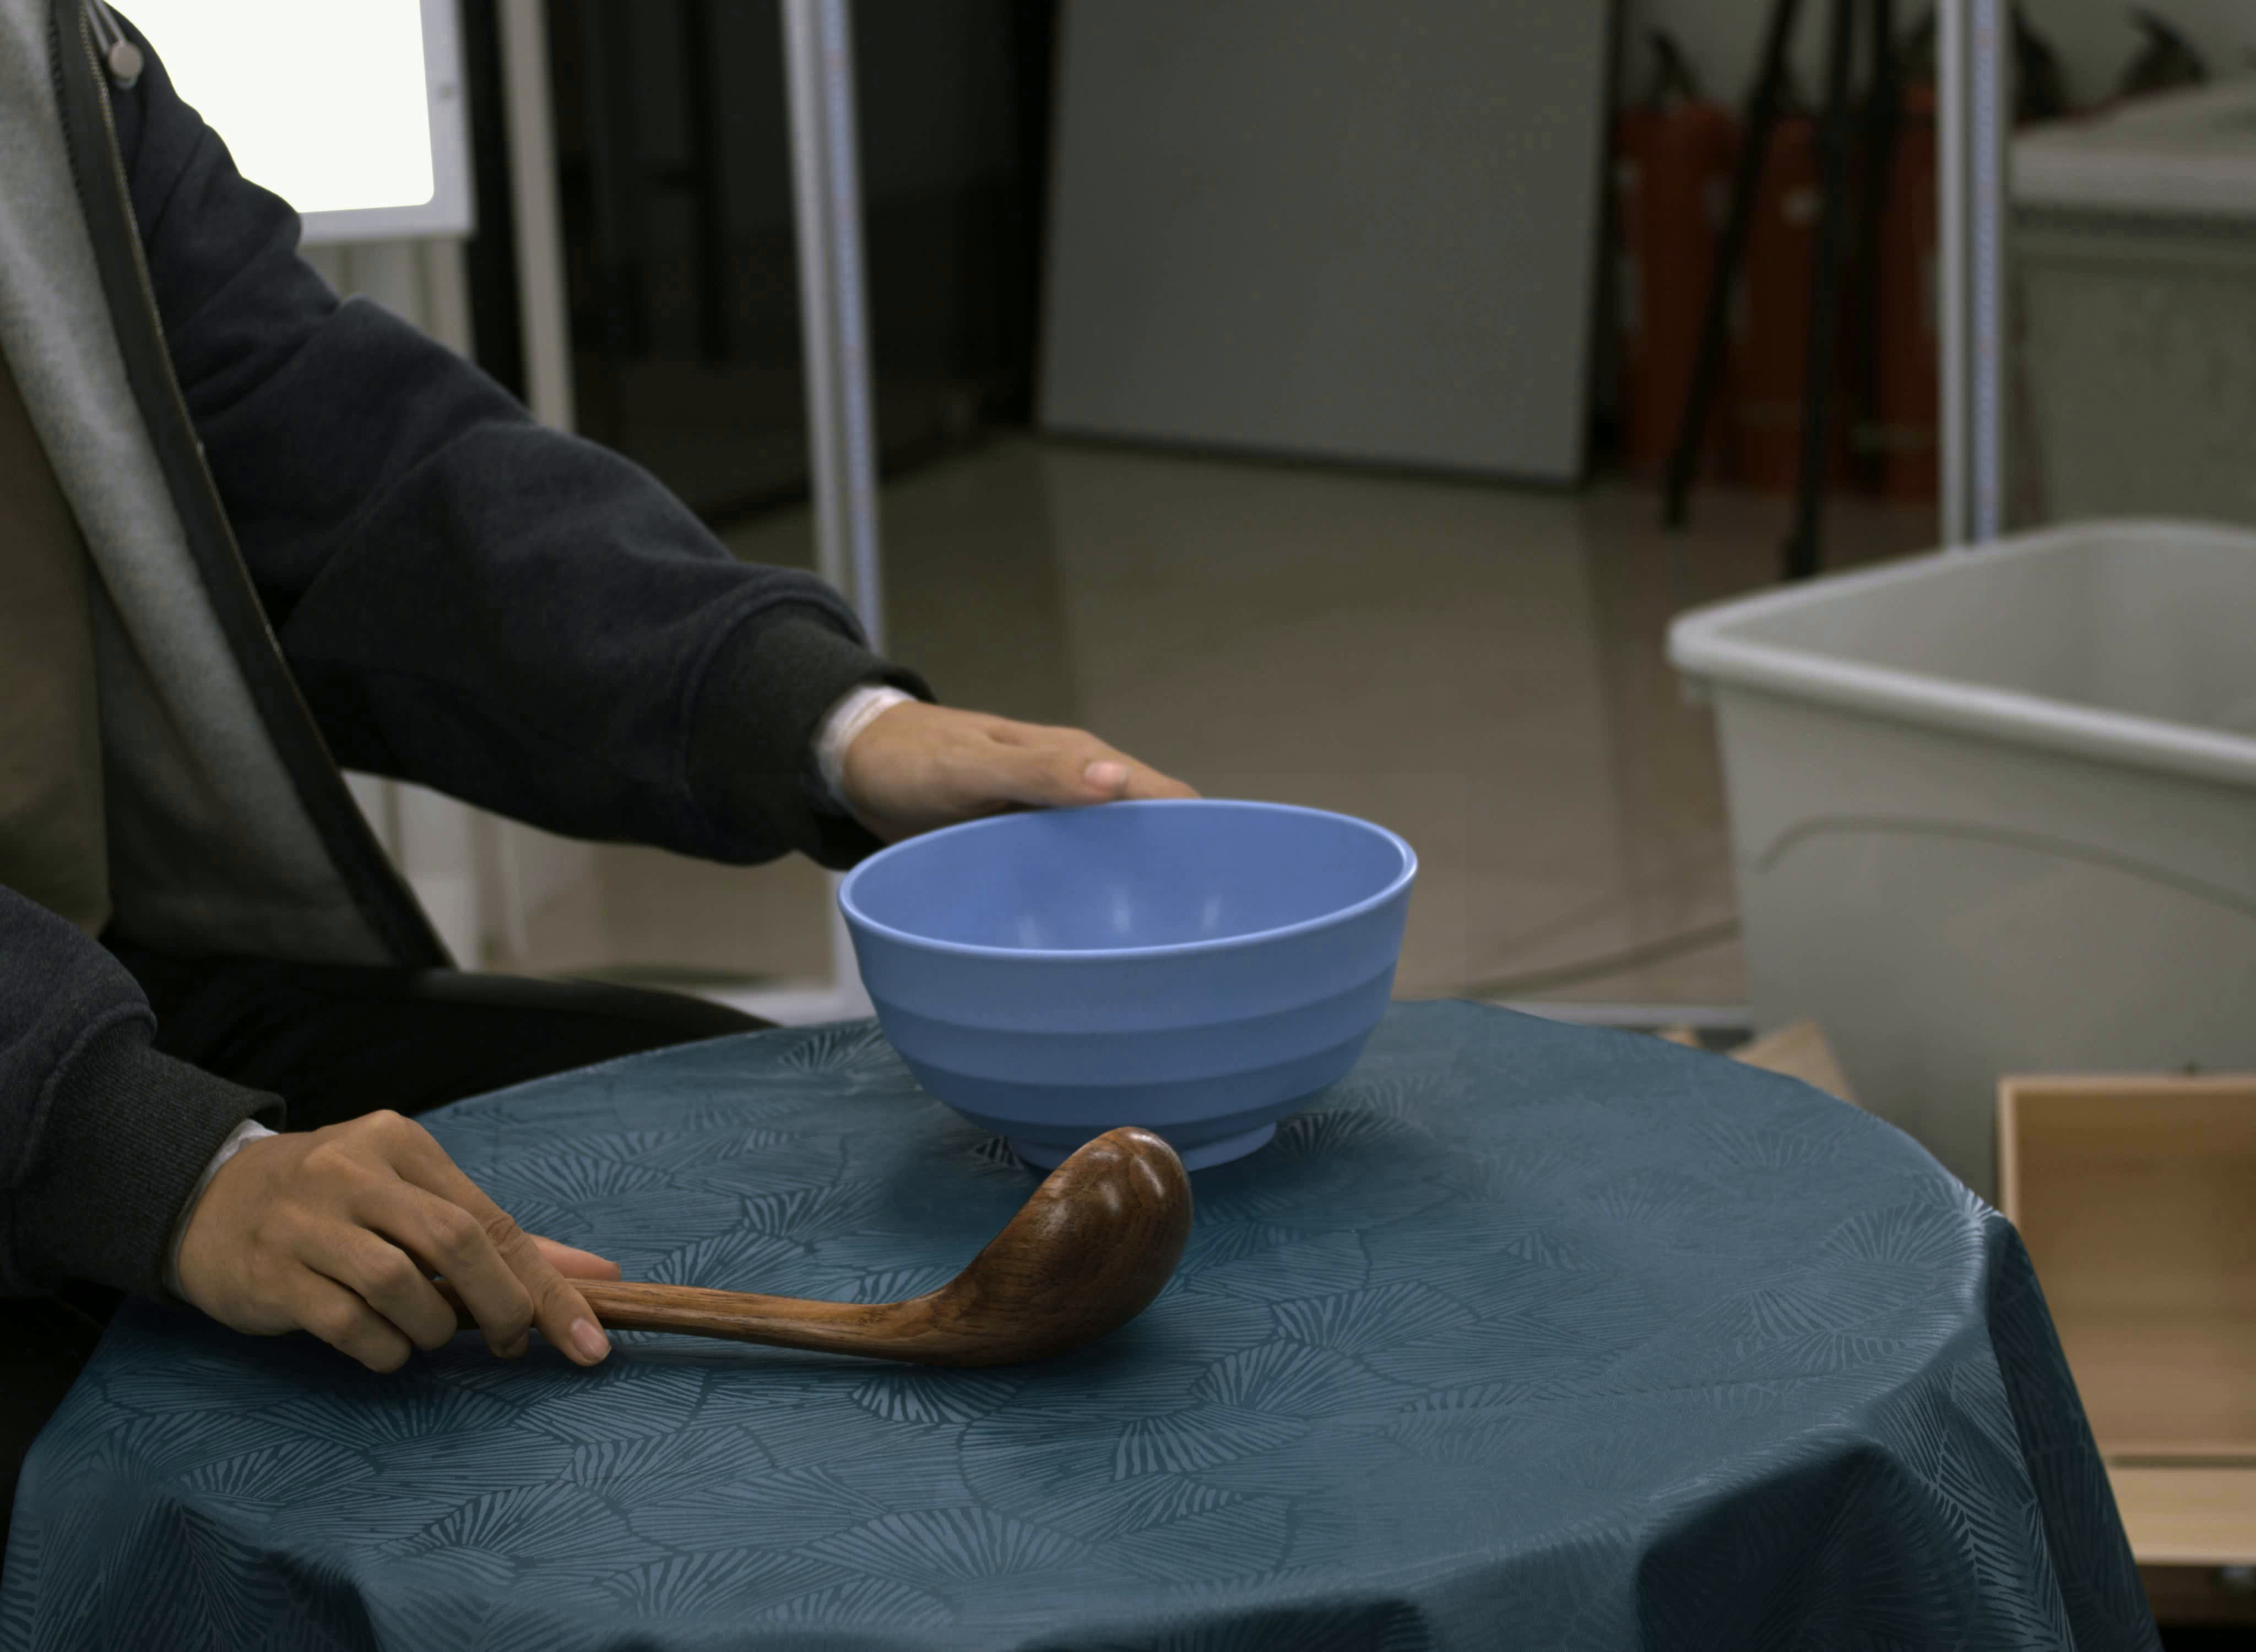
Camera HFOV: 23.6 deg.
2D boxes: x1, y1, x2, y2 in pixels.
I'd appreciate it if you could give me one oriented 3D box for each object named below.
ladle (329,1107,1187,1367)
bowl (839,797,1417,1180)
[{"bbox_3d":[-0.114,0.123,1.641,0.273,0.077,0.081,-1,-26,21],"label":"ladle"},{"bbox_3d":[0.003,0.061,1.815,0.194,0.096,0.197,-4,14,0],"label":"bowl"}]
